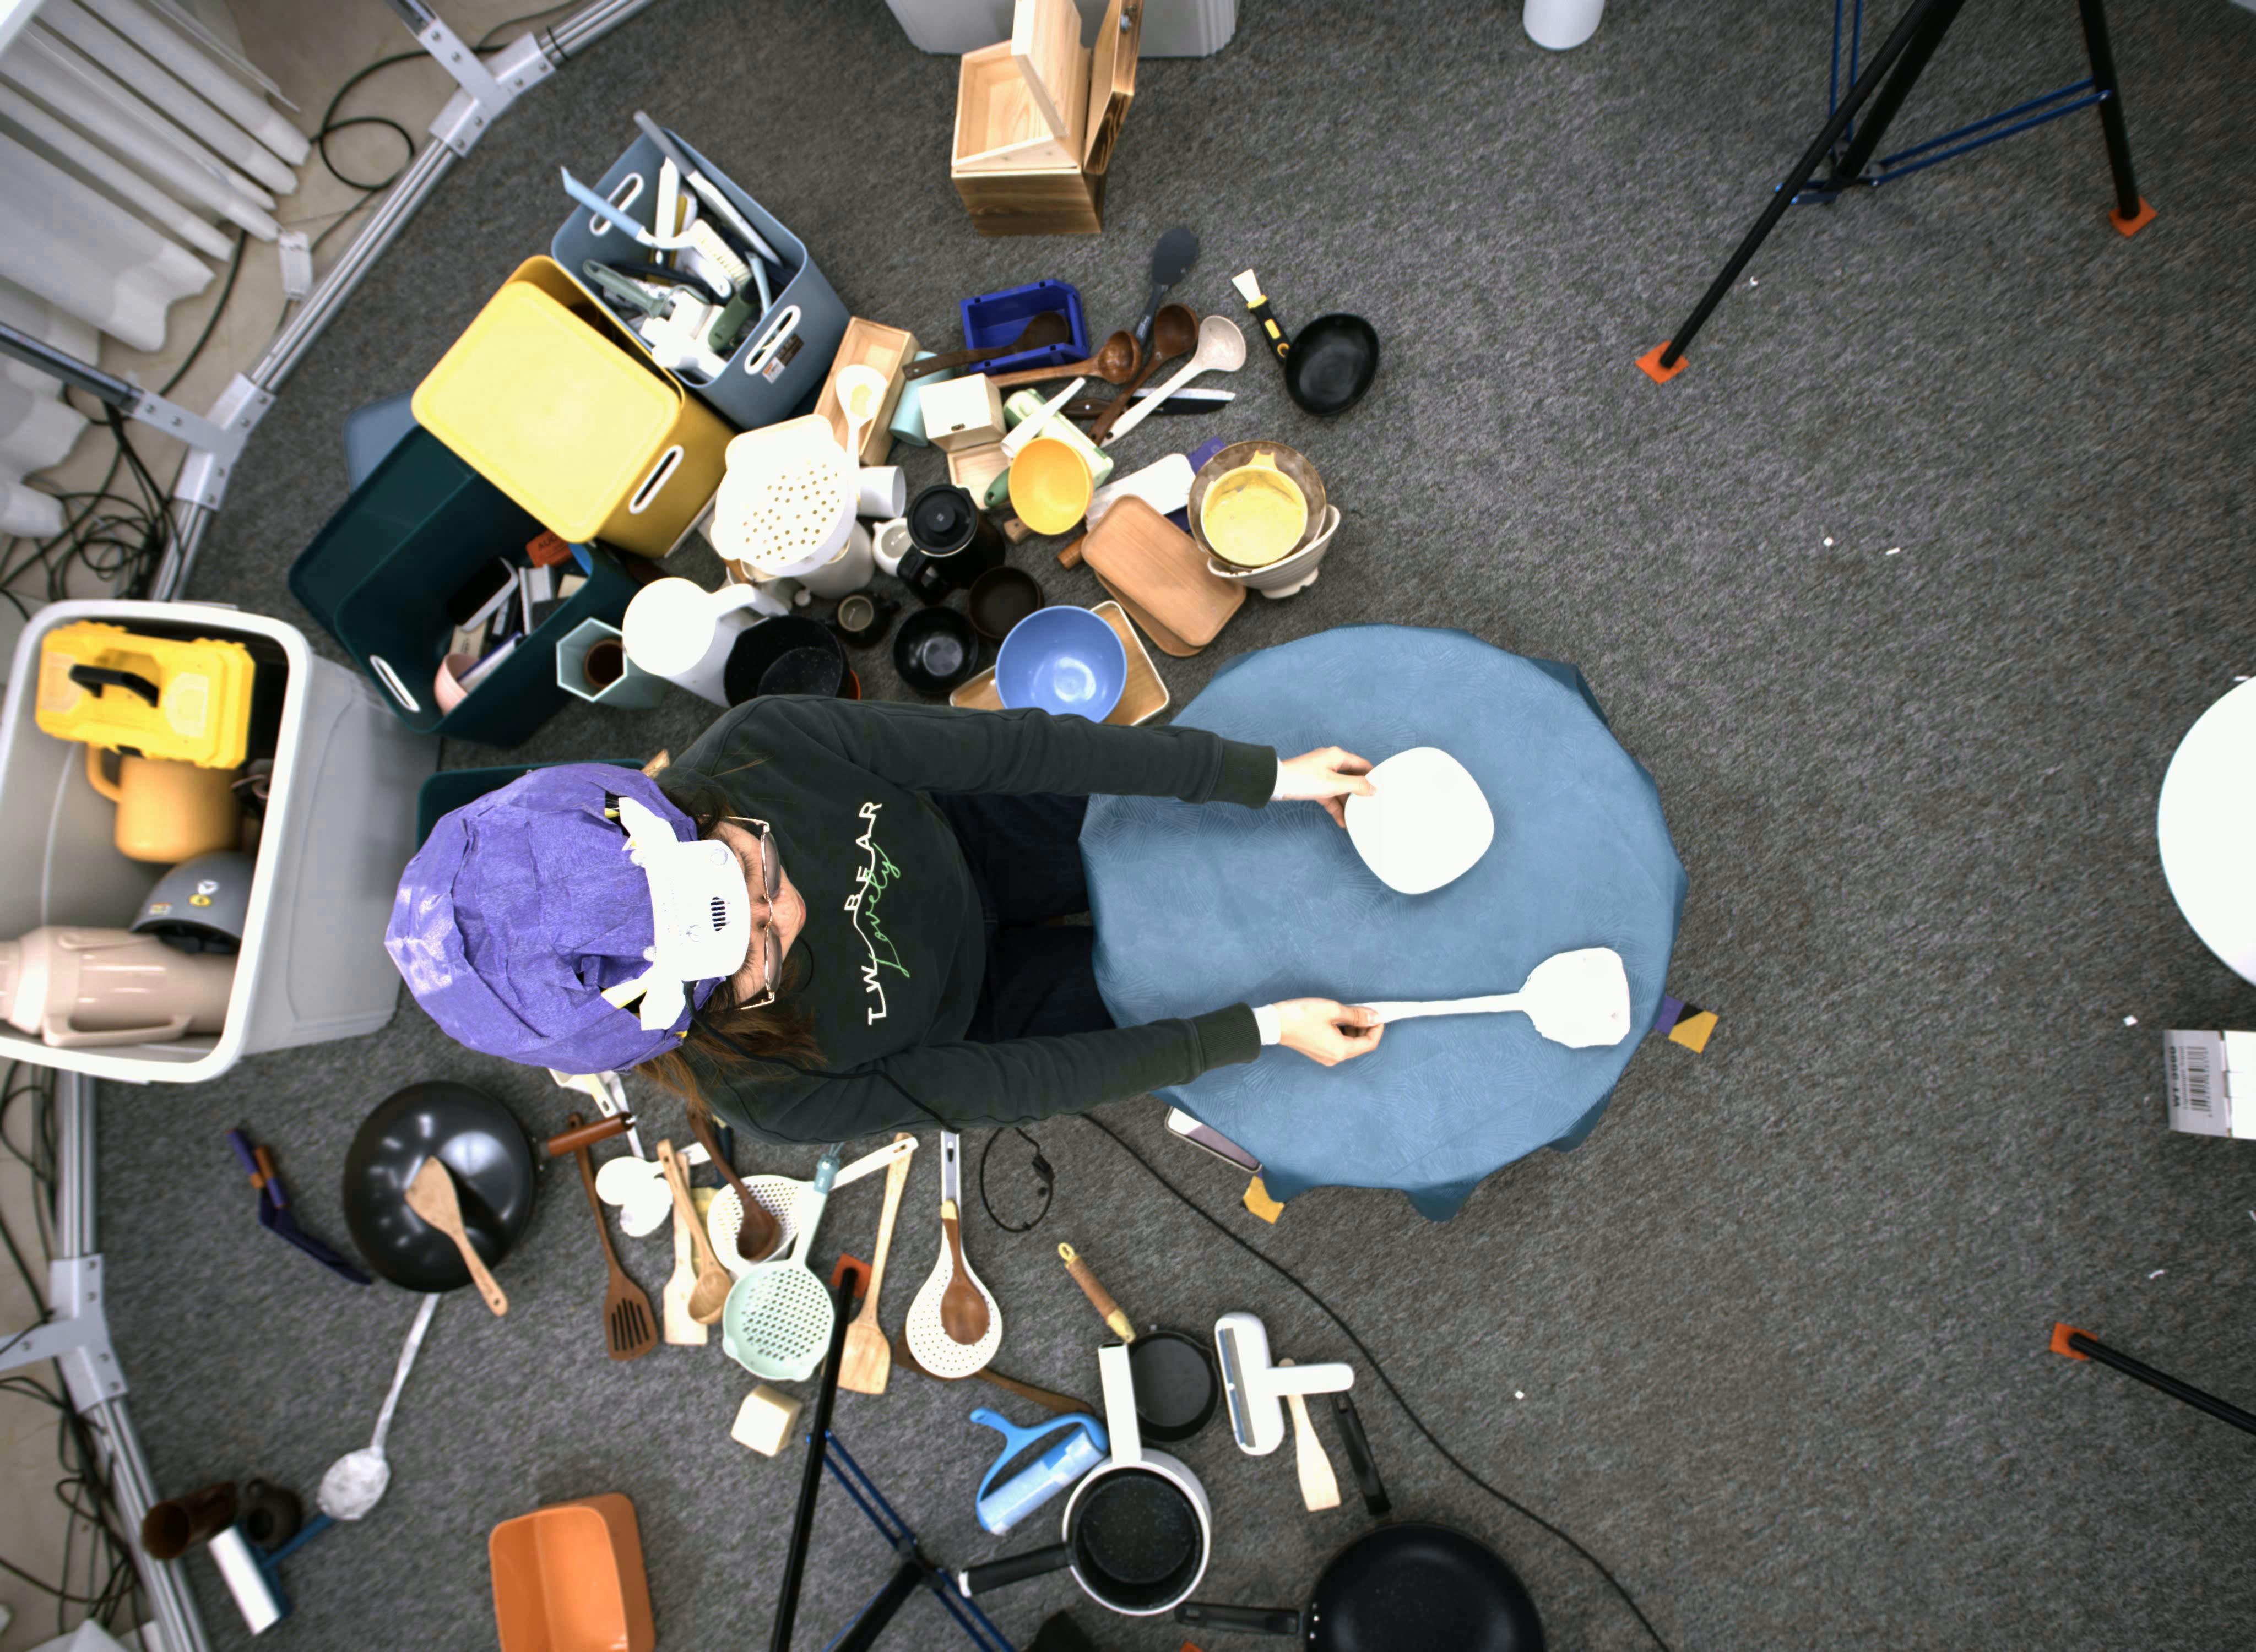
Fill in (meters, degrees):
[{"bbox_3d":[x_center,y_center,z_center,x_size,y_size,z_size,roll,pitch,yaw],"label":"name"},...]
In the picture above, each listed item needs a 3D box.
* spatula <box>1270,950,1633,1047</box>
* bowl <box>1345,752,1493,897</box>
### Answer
[{"bbox_3d":[0.329,0.183,1.421,0.366,0.045,0.098,-4,87,6],"label":"spatula"},{"bbox_3d":[0.300,0.001,1.435,0.152,0.059,0.150,-1,84,6],"label":"bowl"}]
